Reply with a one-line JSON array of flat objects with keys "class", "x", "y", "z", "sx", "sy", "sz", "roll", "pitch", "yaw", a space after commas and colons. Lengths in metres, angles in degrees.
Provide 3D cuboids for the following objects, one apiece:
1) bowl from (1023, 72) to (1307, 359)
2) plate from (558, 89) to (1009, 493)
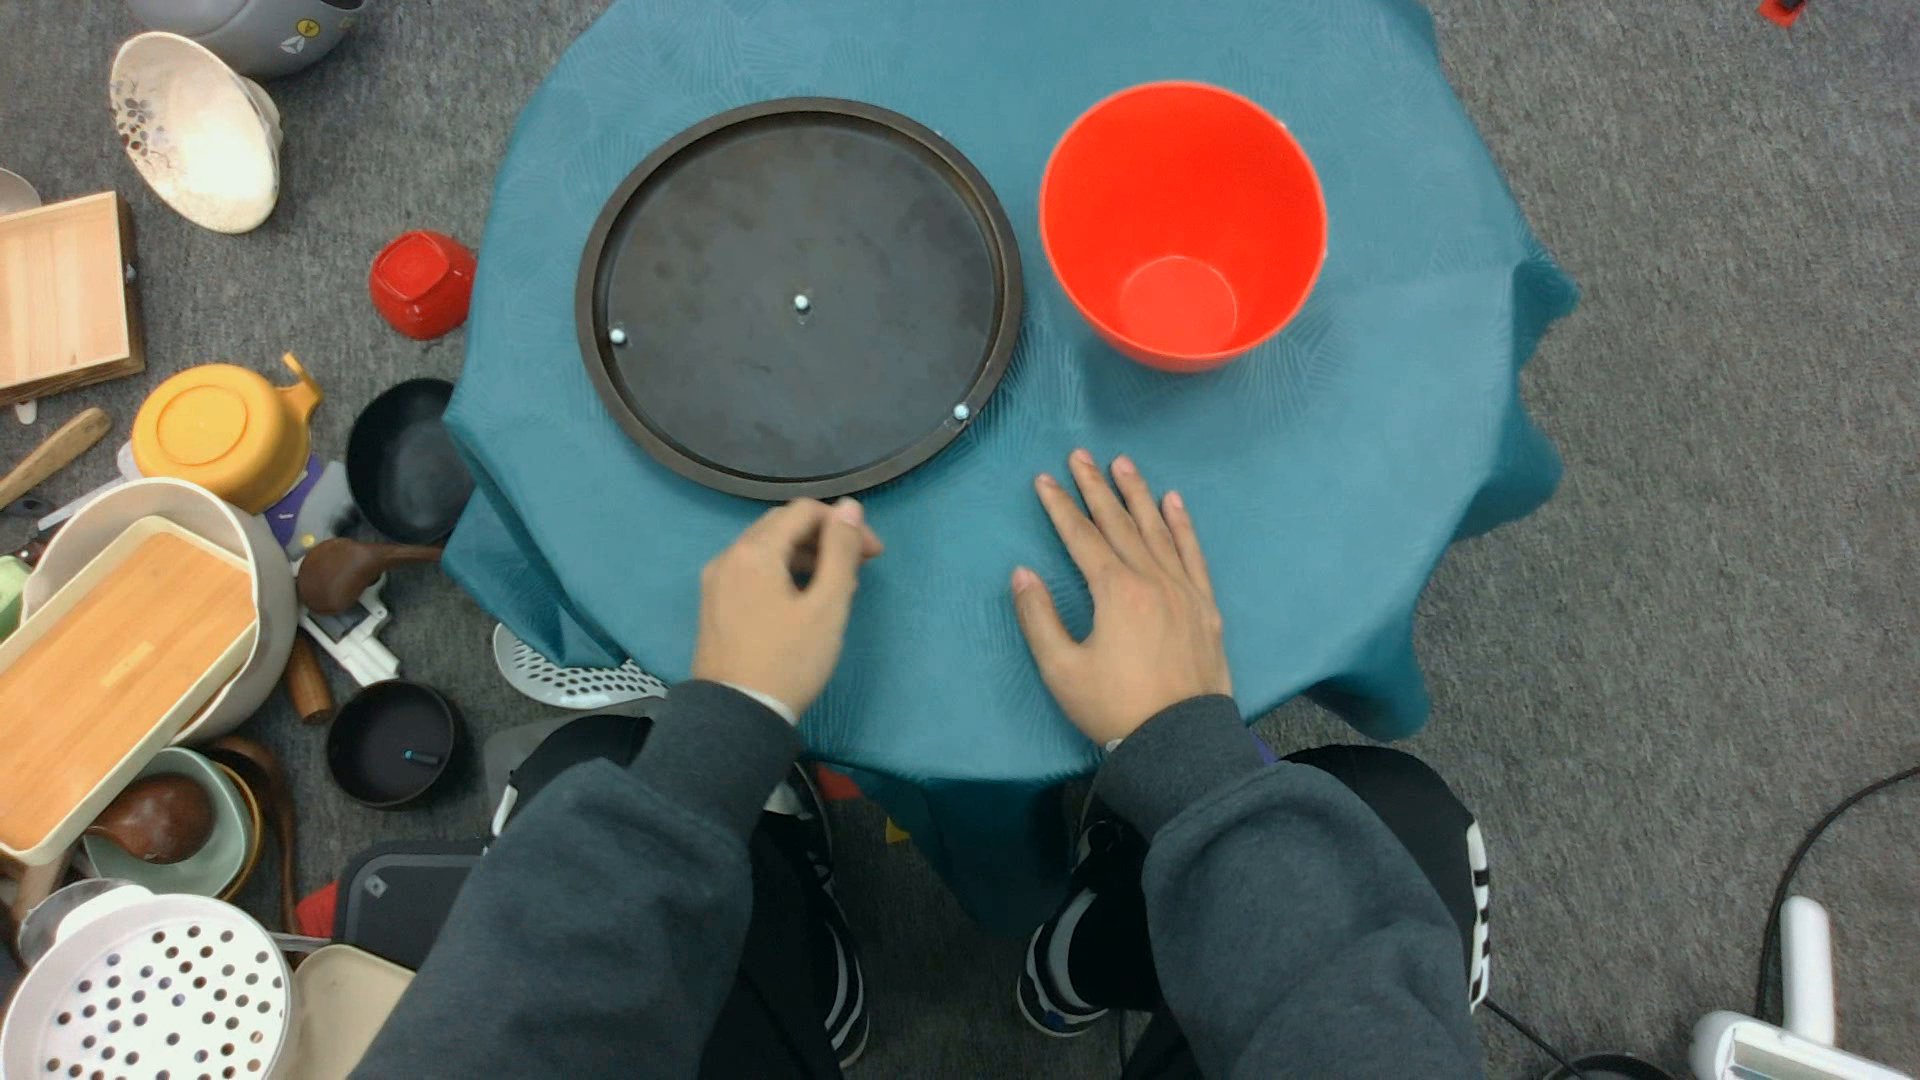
[{"class": "bowl", "x": 0.106, "y": -0.160, "z": 0.741, "sx": 0.148, "sy": 0.104, "sz": 0.148, "roll": 0, "pitch": 70, "yaw": 0}, {"class": "plate", "x": -0.099, "y": -0.144, "z": 0.780, "sx": 0.255, "sy": 0.029, "sz": 0.255, "roll": 0, "pitch": 72, "yaw": -1}]
